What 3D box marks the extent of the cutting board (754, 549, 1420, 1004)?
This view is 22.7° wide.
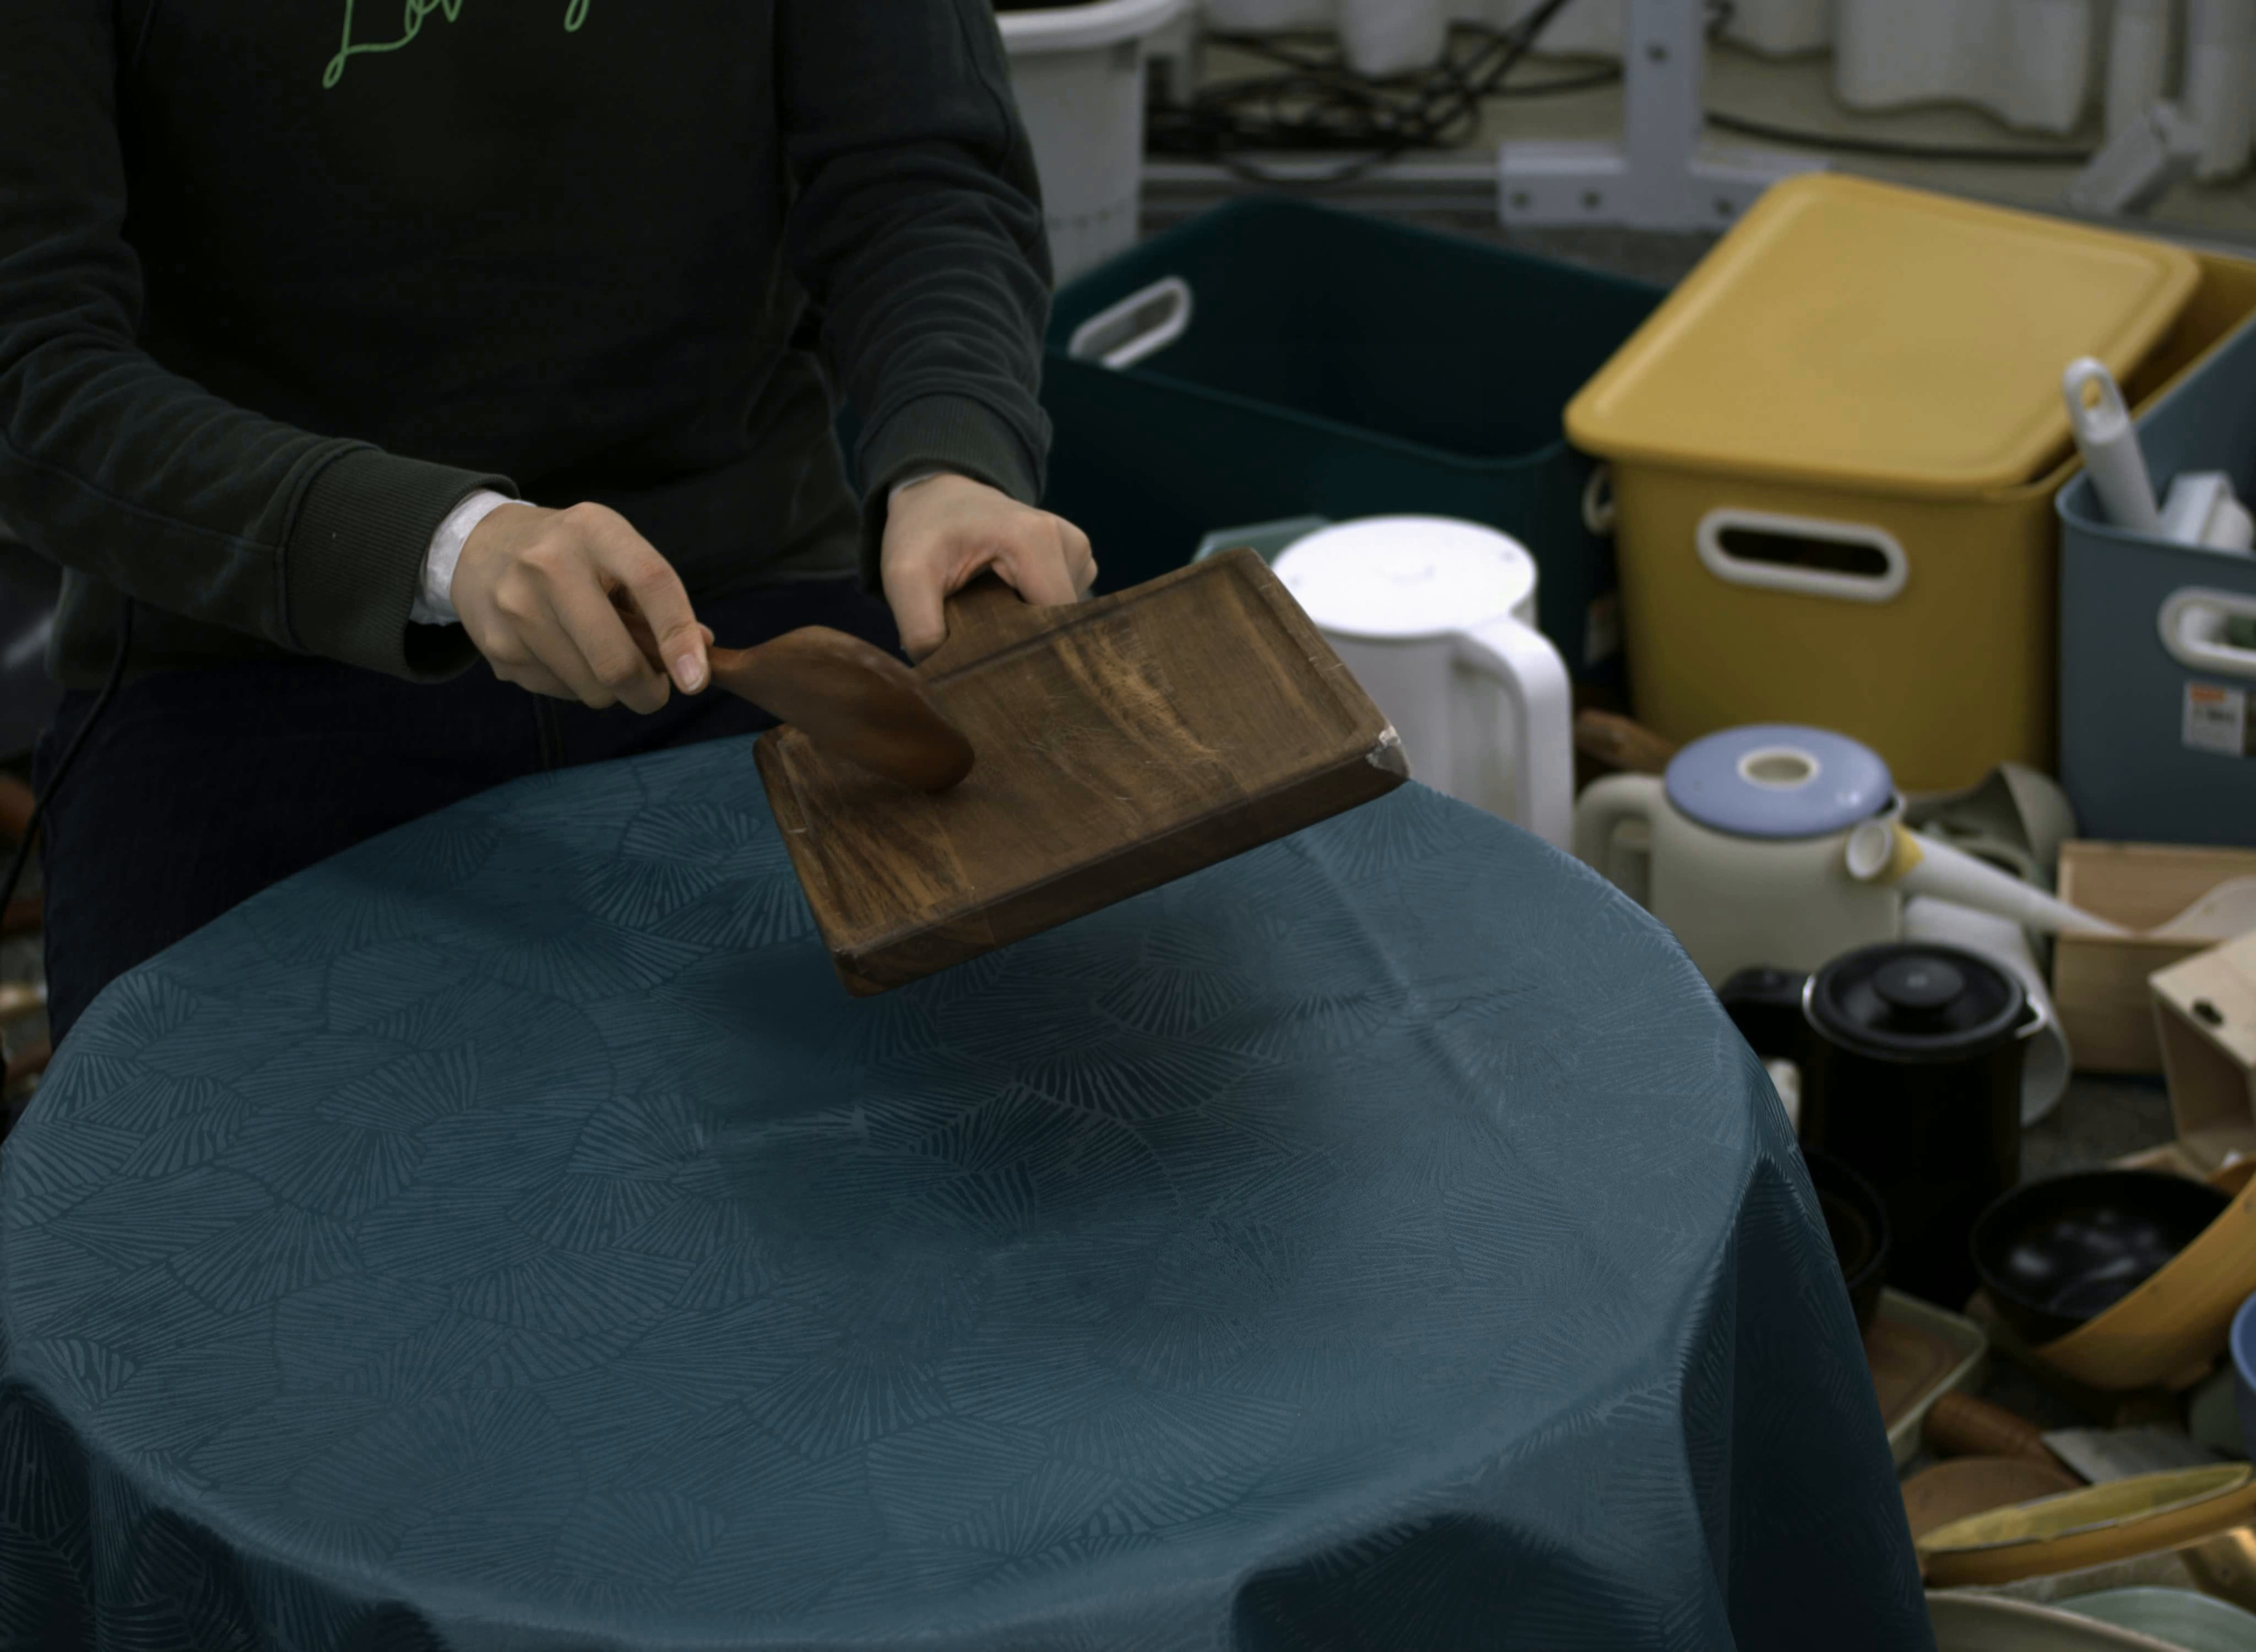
[{"bbox_3d":[-0.028,-0.035,1.948,0.201,0.023,0.354,-22,19,-3],"label":"cutting board"}]

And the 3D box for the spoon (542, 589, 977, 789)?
[{"bbox_3d":[-0.132,-0.050,1.933,0.215,0.075,0.017,18,64,45],"label":"spoon"}]
